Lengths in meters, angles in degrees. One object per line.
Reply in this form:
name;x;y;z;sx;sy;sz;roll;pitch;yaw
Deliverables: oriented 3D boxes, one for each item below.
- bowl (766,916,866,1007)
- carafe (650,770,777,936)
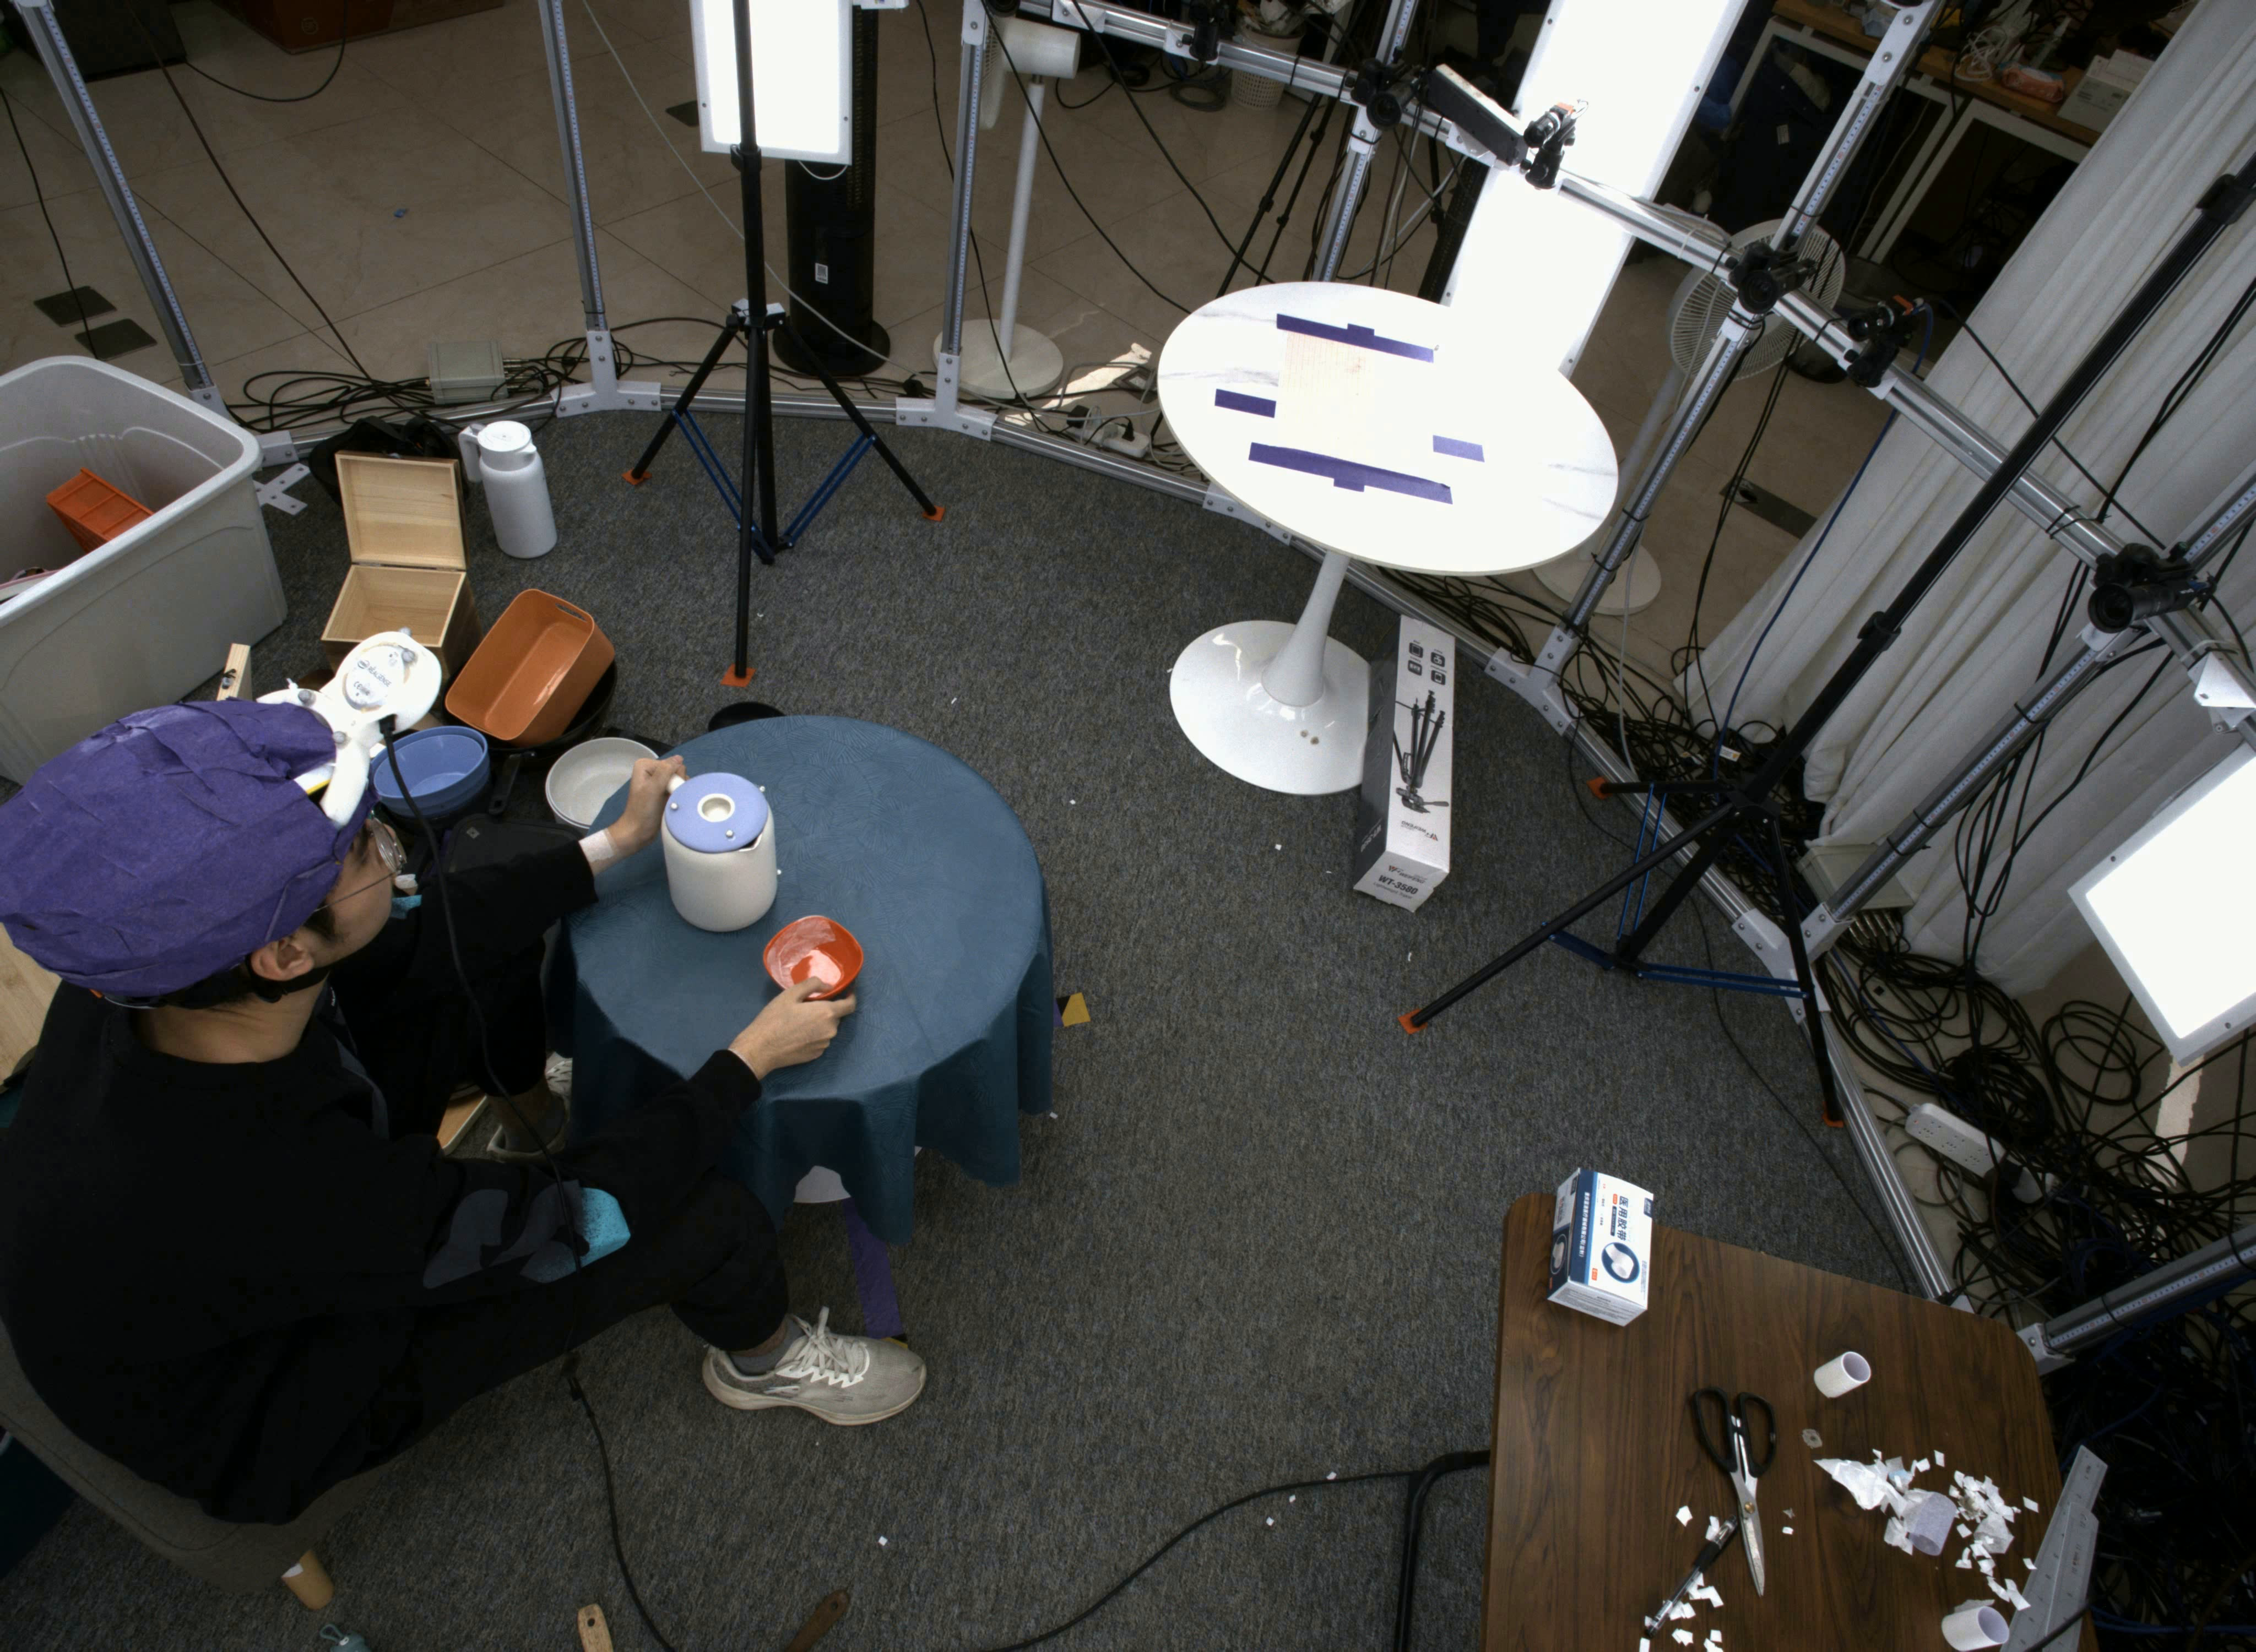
bowl;-0.382;0.171;1.581;0.119;0.052;0.117;12;52;-14
carafe;-0.518;0.018;1.582;0.187;0.187;0.132;35;52;17
